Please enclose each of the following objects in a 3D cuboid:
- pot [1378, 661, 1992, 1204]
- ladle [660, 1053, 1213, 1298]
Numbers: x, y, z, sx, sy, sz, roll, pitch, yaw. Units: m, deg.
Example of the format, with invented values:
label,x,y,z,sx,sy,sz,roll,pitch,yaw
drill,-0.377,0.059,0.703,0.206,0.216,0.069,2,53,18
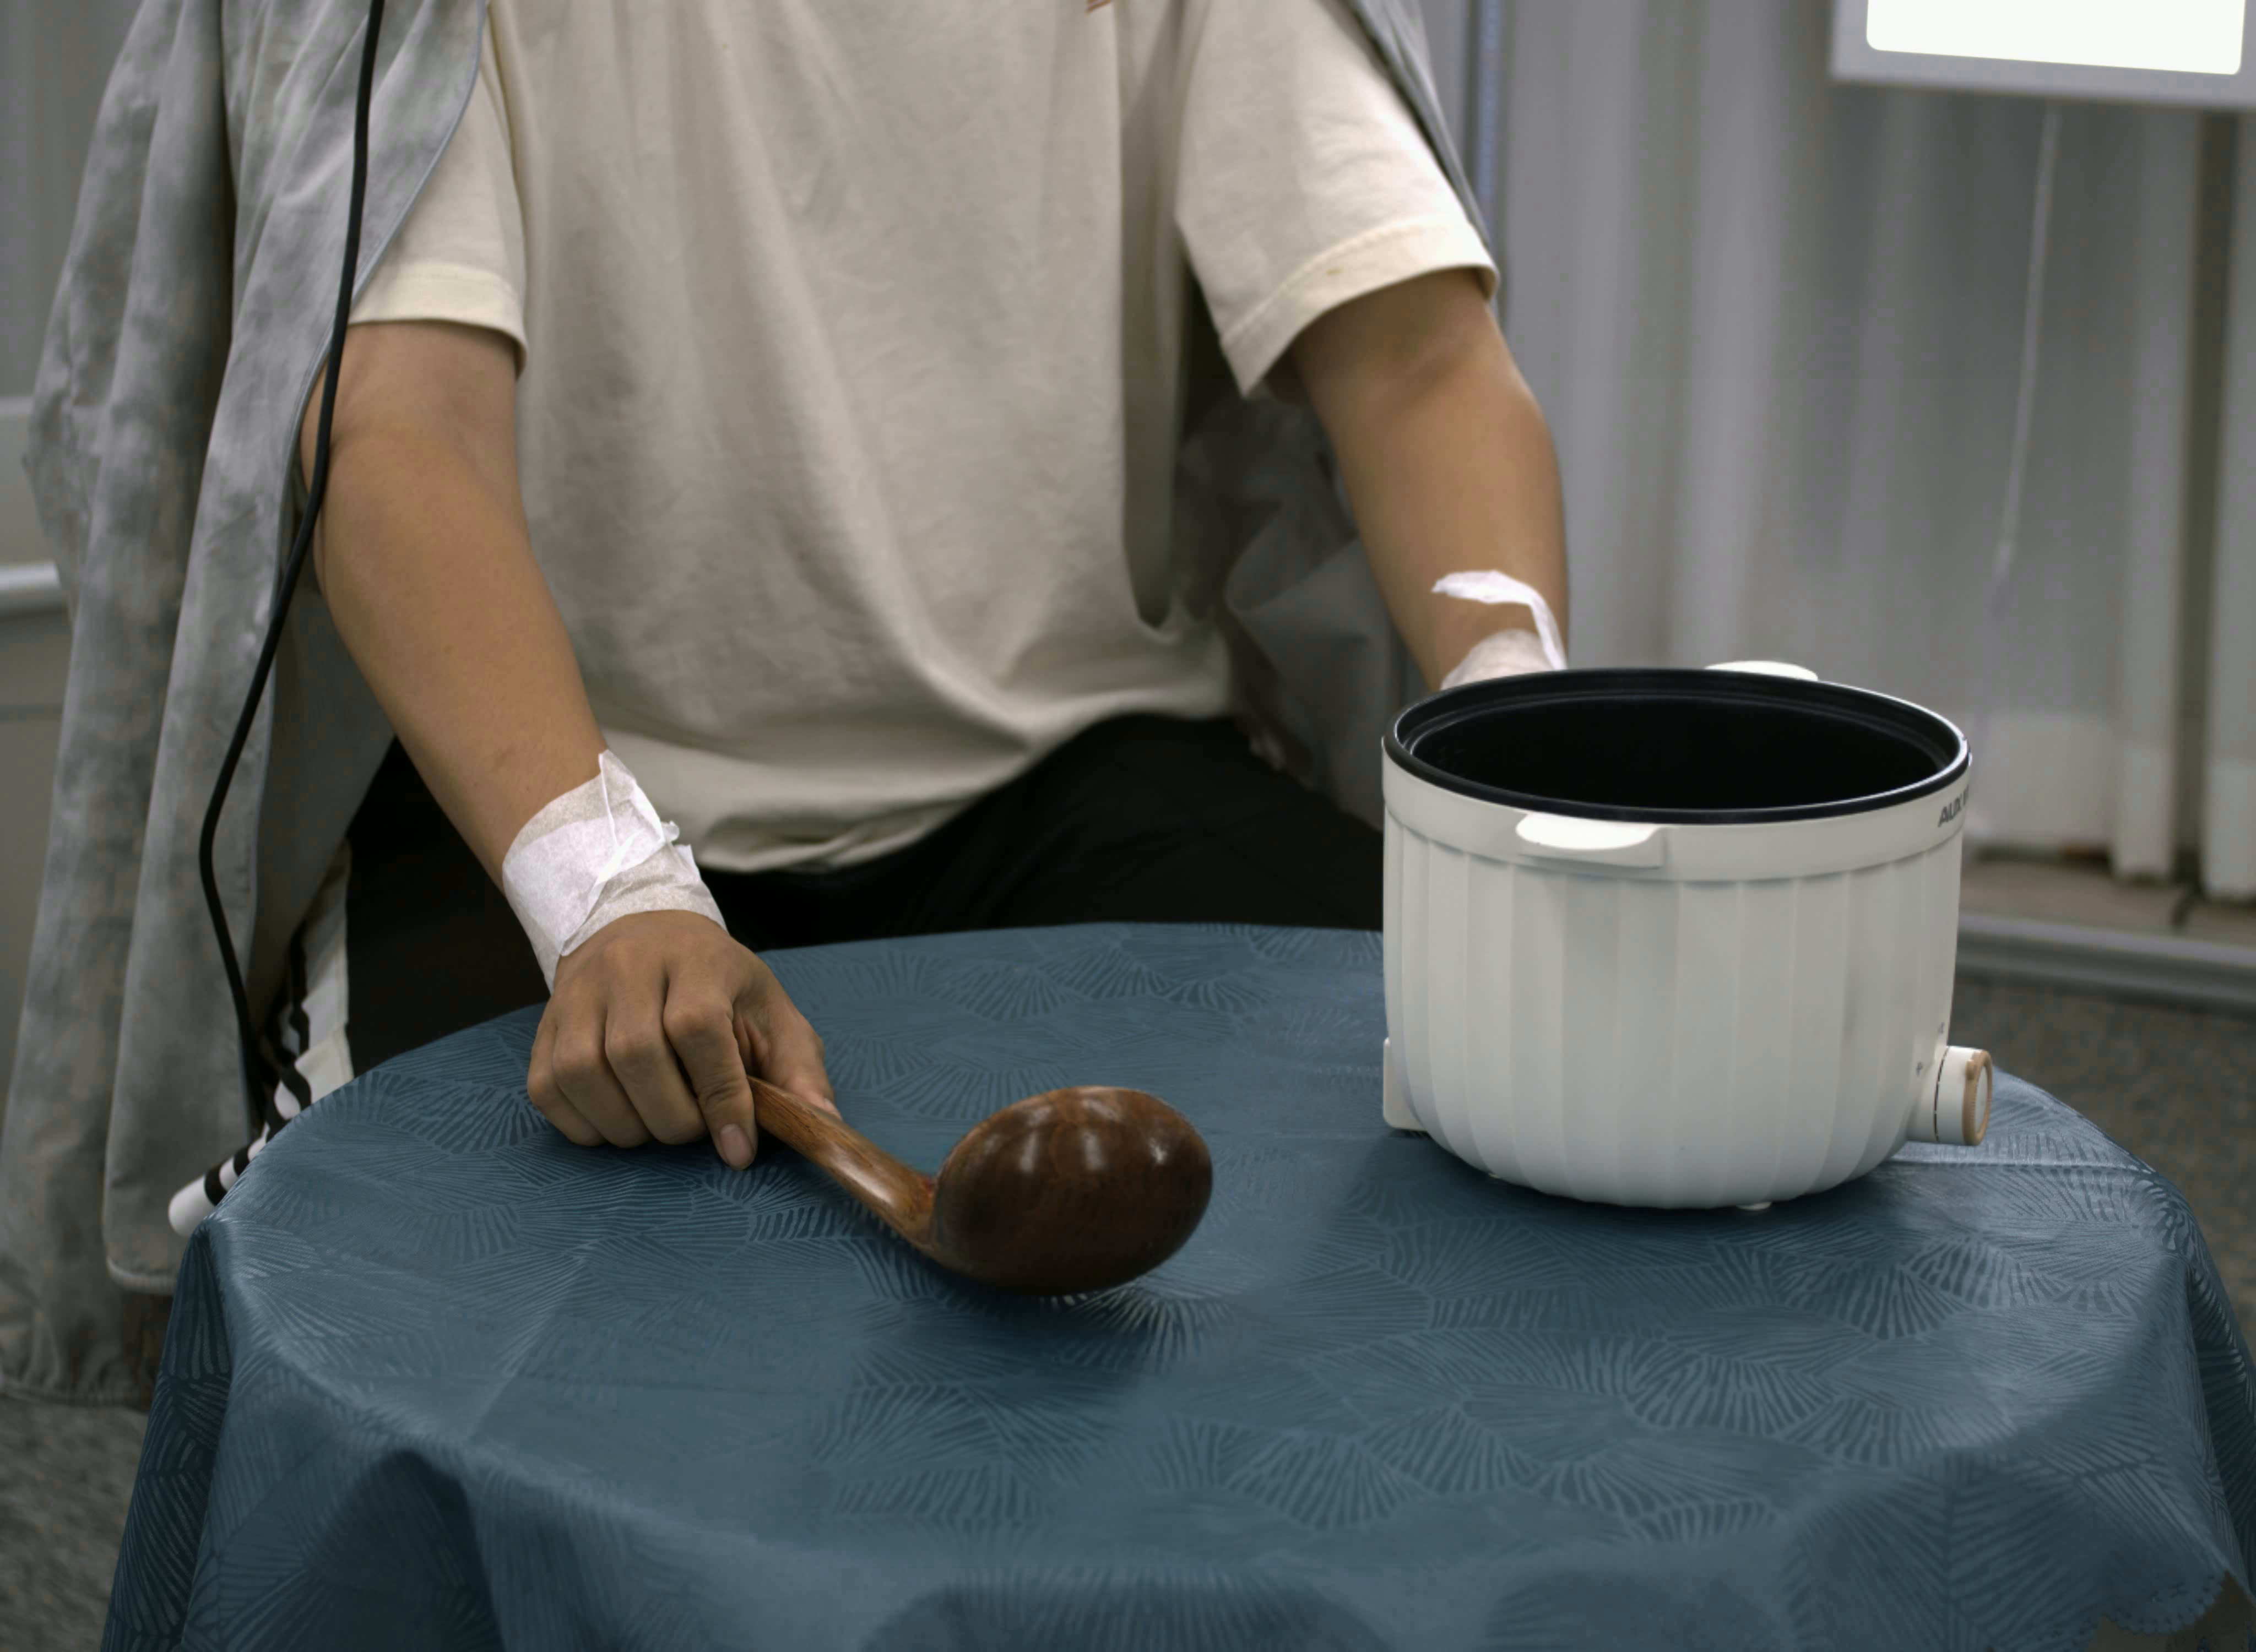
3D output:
label,x,y,z,sx,sy,sz,roll,pitch,yaw
pot,0.174,0.035,1.647,0.189,0.144,0.240,3,16,20
ladle,-0.068,0.081,1.596,0.083,0.077,0.270,28,-1,-32
